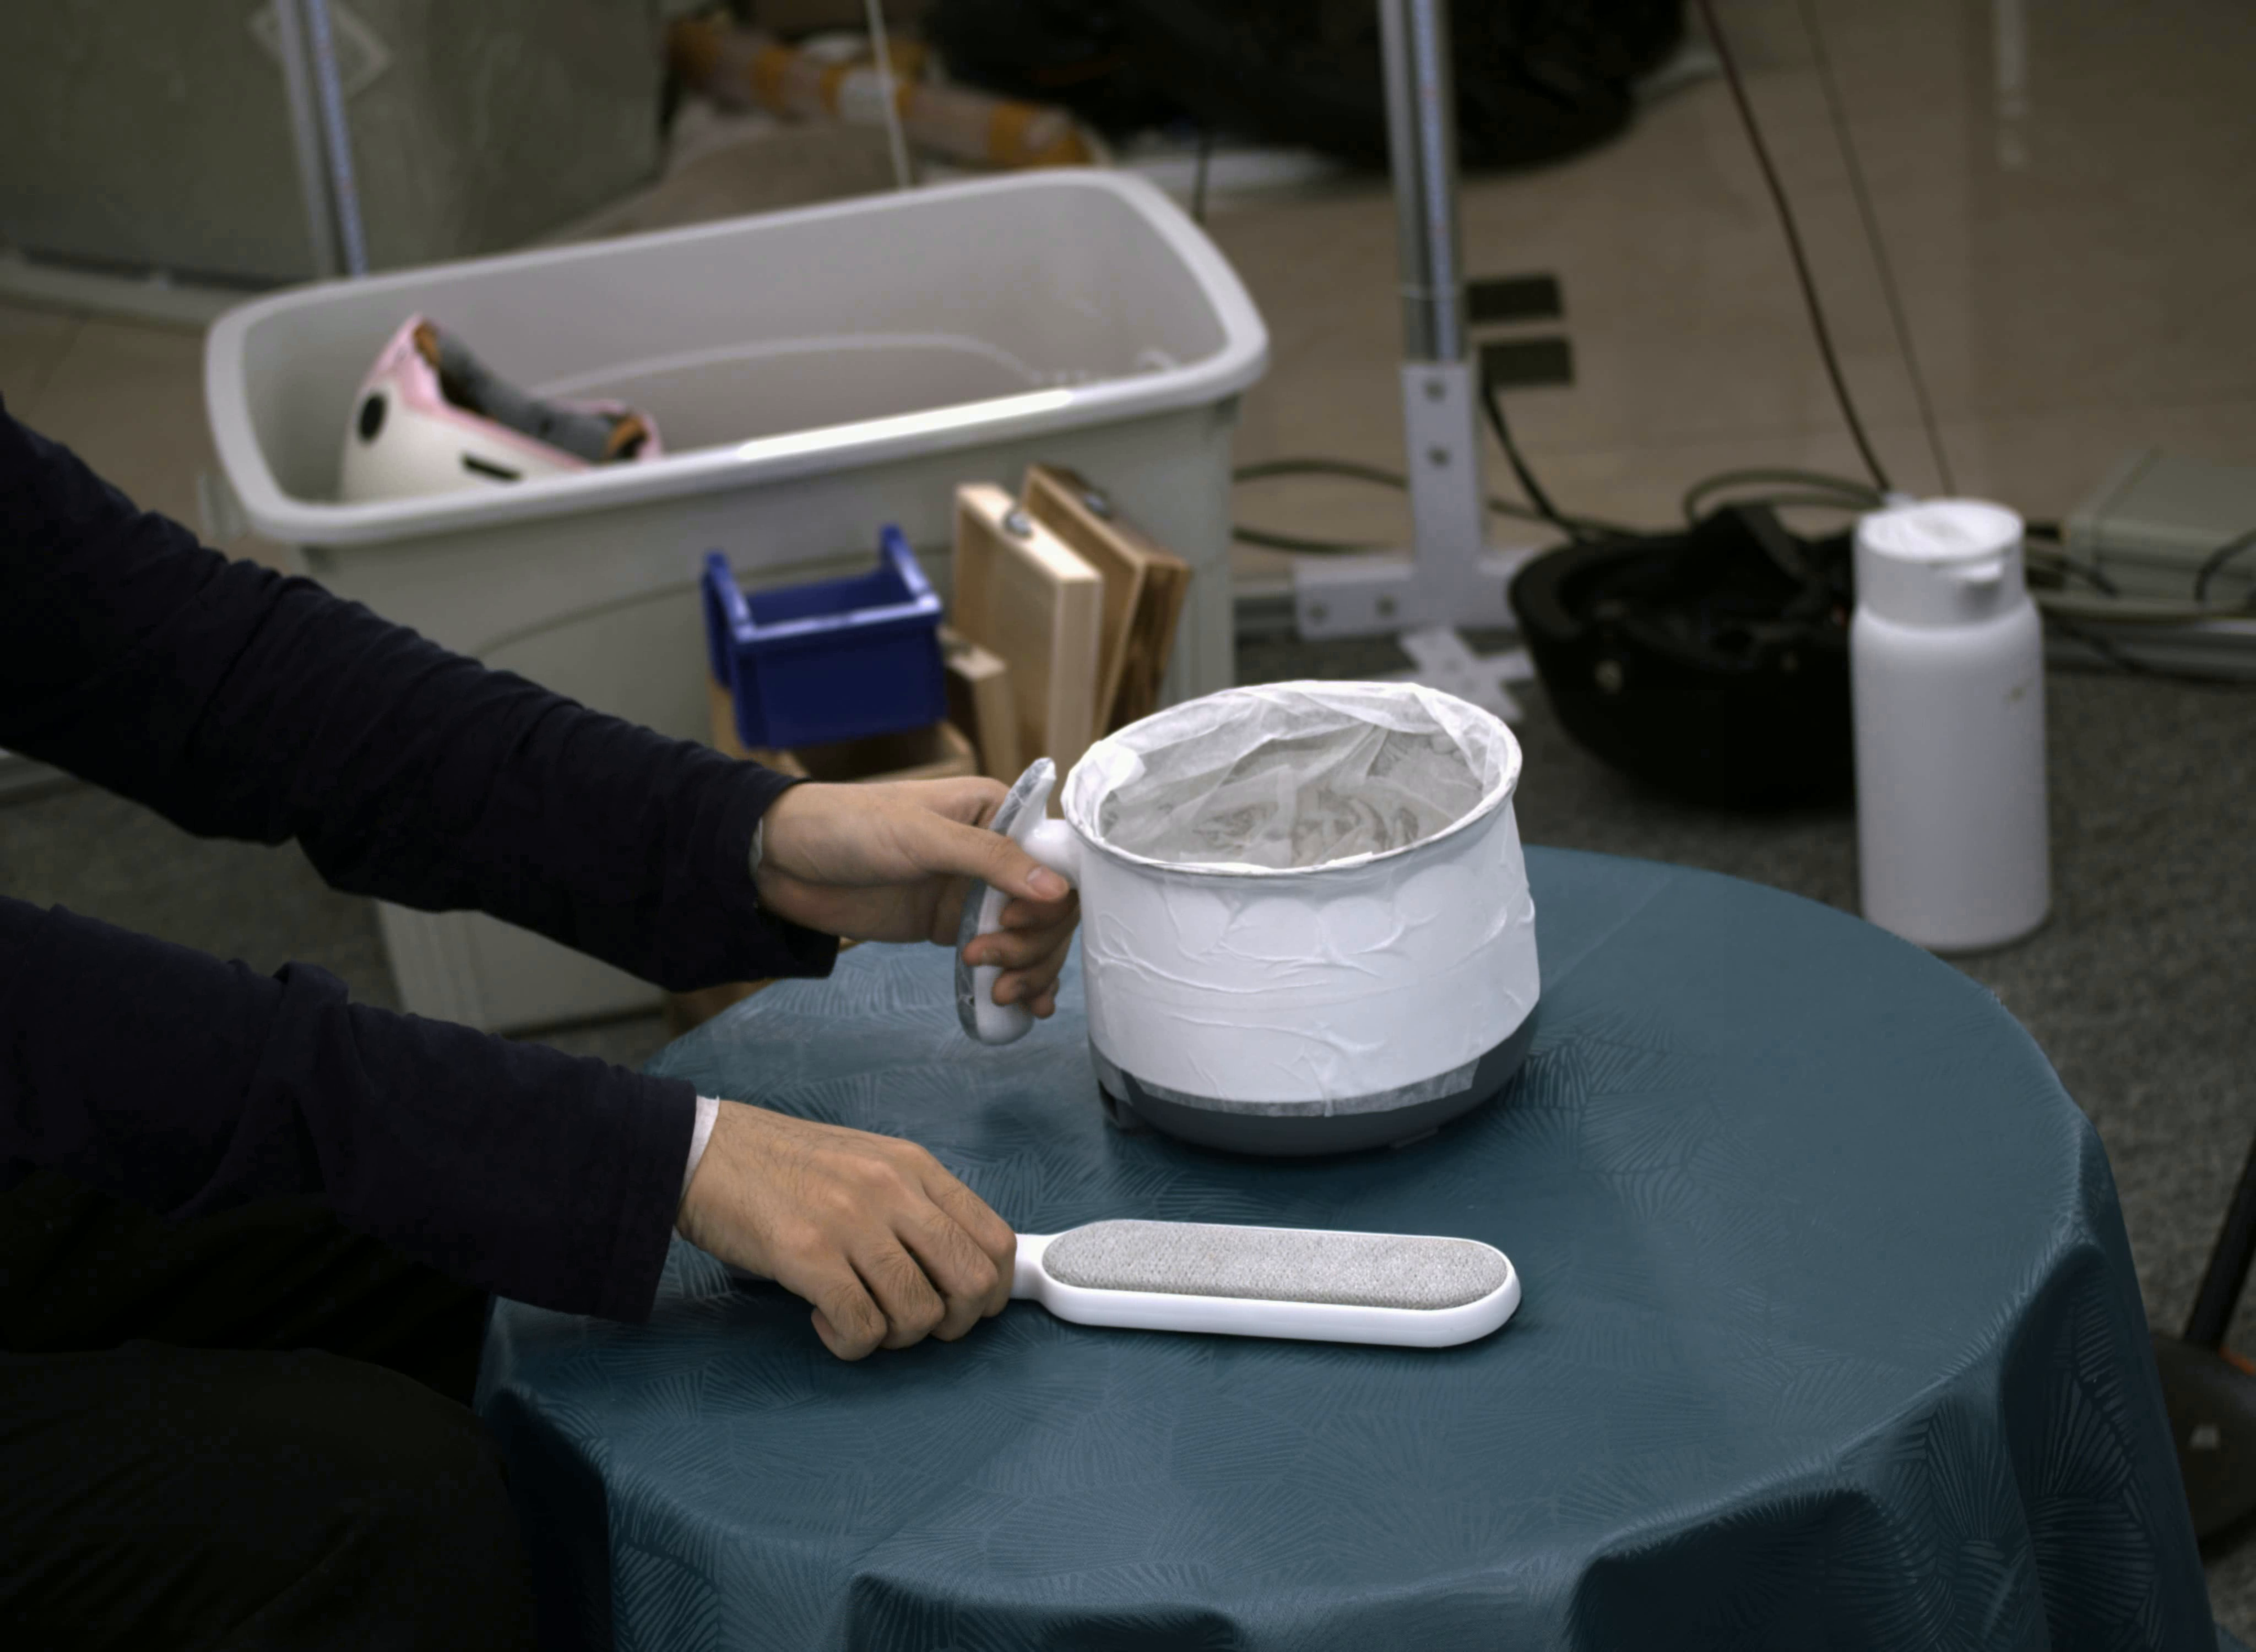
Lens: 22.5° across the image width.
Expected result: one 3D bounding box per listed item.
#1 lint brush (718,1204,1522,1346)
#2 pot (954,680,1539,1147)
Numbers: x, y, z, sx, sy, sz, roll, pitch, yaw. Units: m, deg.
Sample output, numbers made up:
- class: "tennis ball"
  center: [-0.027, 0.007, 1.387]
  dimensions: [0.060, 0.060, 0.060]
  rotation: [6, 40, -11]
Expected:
- class: "lint brush"
  center: [-0.007, 0.160, 2.076]
  dimensions: [0.308, 0.021, 0.059]
  rotation: [2, 33, 19]
- class: "pot"
  center: [0.042, 0.035, 2.195]
  dimensions: [0.233, 0.138, 0.176]
  rotation: [1, 24, 15]
